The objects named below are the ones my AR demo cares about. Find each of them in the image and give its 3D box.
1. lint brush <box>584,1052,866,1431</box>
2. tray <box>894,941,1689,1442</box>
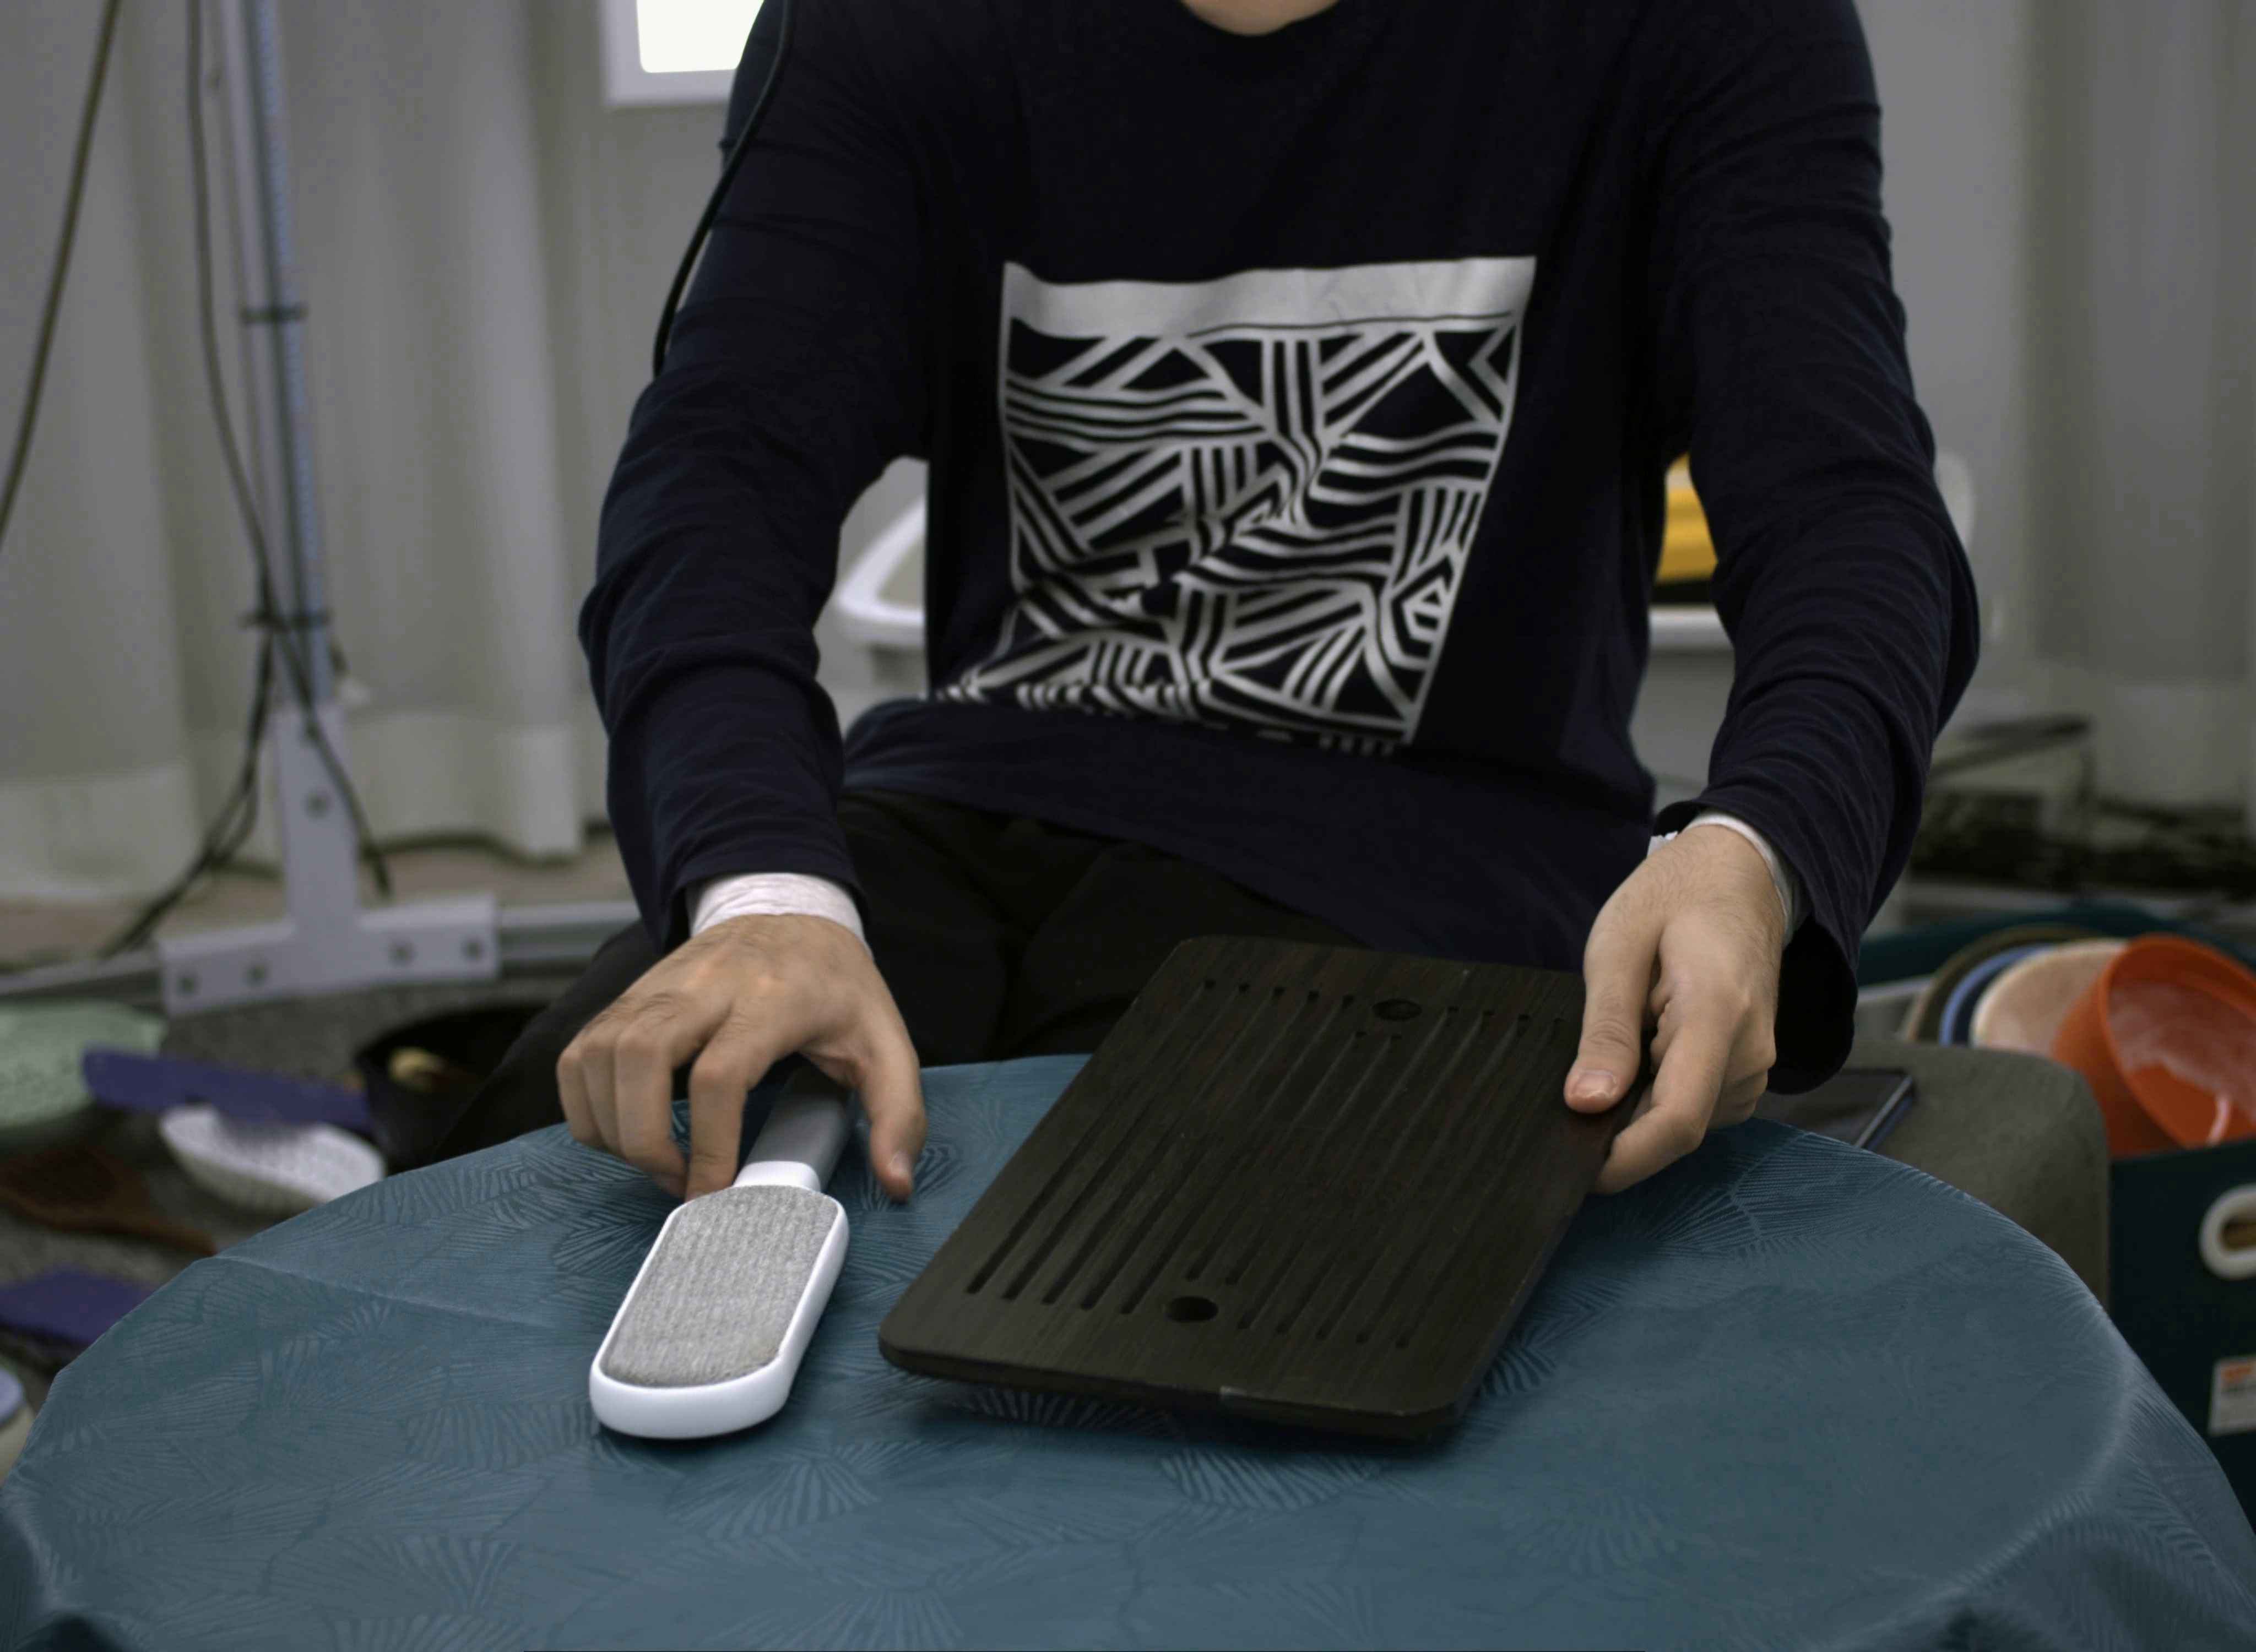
[{"bbox_3d":[-0.111,0.122,1.660,0.060,0.021,0.311,-6,14,7],"label":"lint brush"},{"bbox_3d":[0.057,0.106,1.637,0.170,0.018,0.308,4,22,17],"label":"tray"}]
